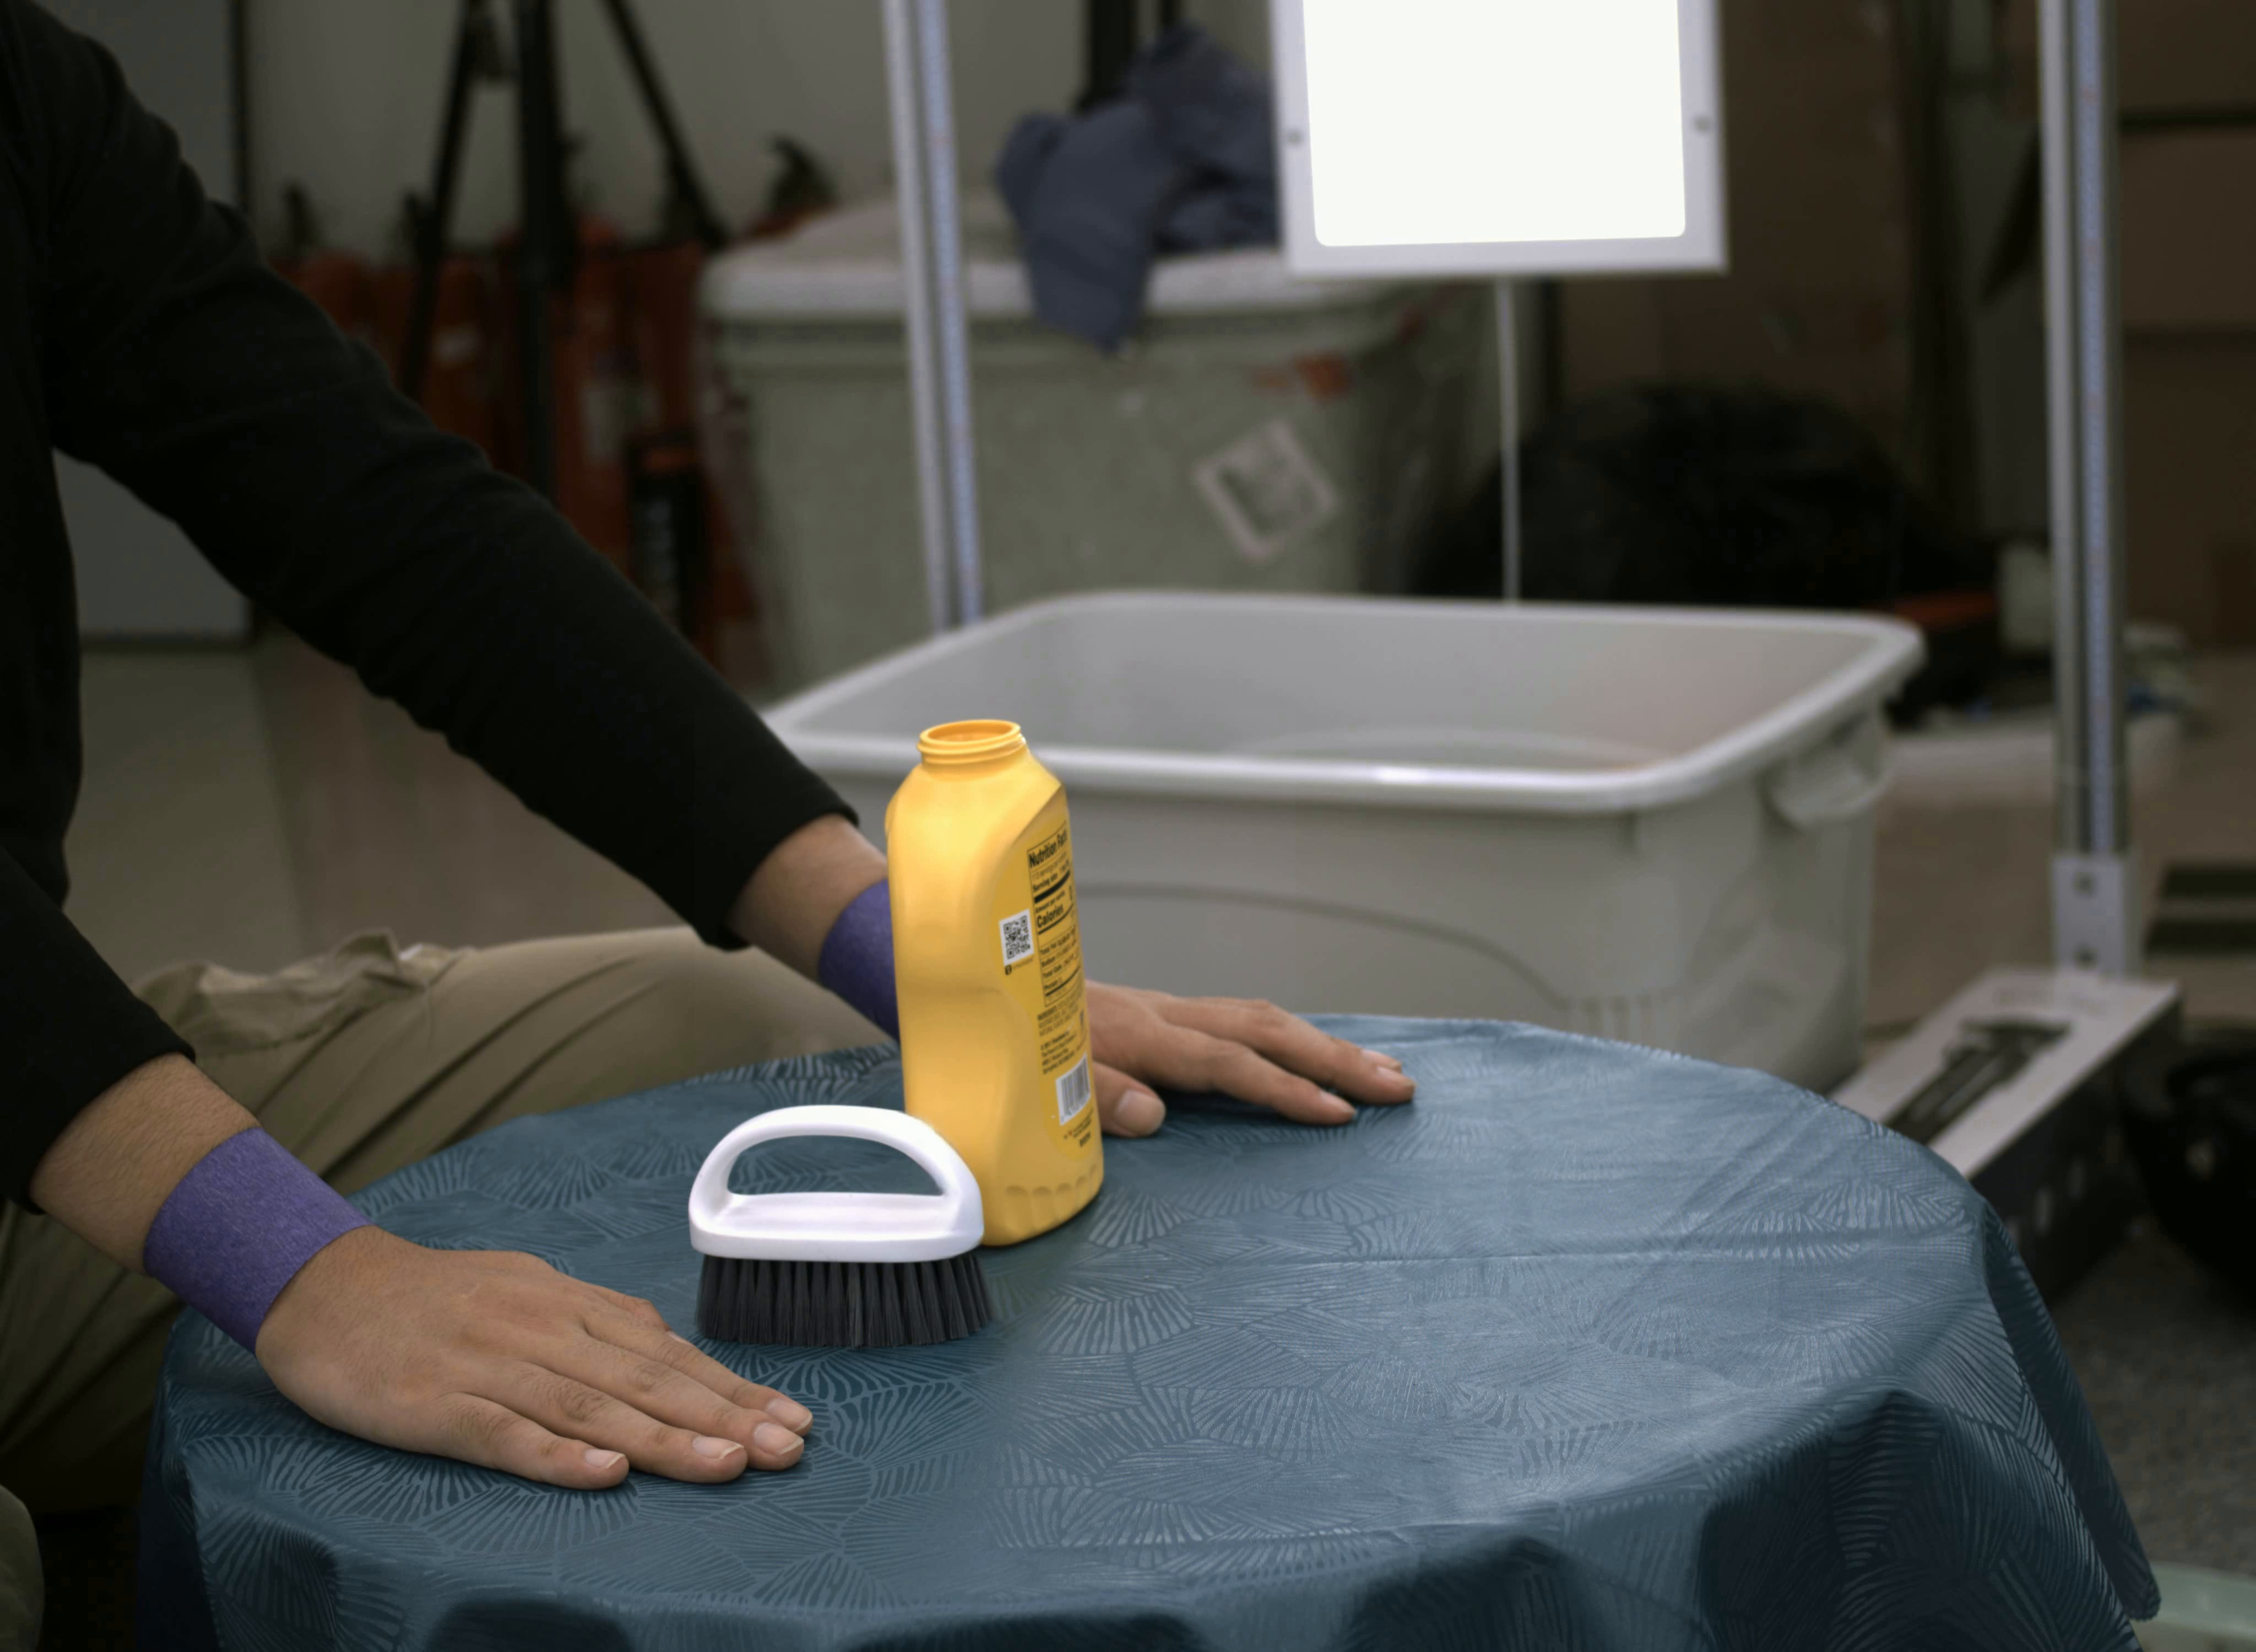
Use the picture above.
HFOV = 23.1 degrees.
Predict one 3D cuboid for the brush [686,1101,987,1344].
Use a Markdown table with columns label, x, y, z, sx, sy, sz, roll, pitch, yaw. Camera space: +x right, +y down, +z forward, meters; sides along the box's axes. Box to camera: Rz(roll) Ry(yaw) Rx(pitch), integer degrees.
| label | x | y | z | sx | sy | sz | roll | pitch | yaw |
| --- | --- | --- | --- | --- | --- | --- | --- | --- | --- |
| brush | -0.095 | 0.125 | 1.780 | 0.100 | 0.073 | 0.049 | 2 | 14 | 20 |

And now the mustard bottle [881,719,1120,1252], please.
| label | x | y | z | sx | sy | sz | roll | pitch | yaw |
| --- | --- | --- | --- | --- | --- | --- | --- | --- | --- |
| mustard bottle | -0.045 | 0.052 | 1.865 | 0.060 | 0.172 | 0.097 | -4 | 14 | 19 |
